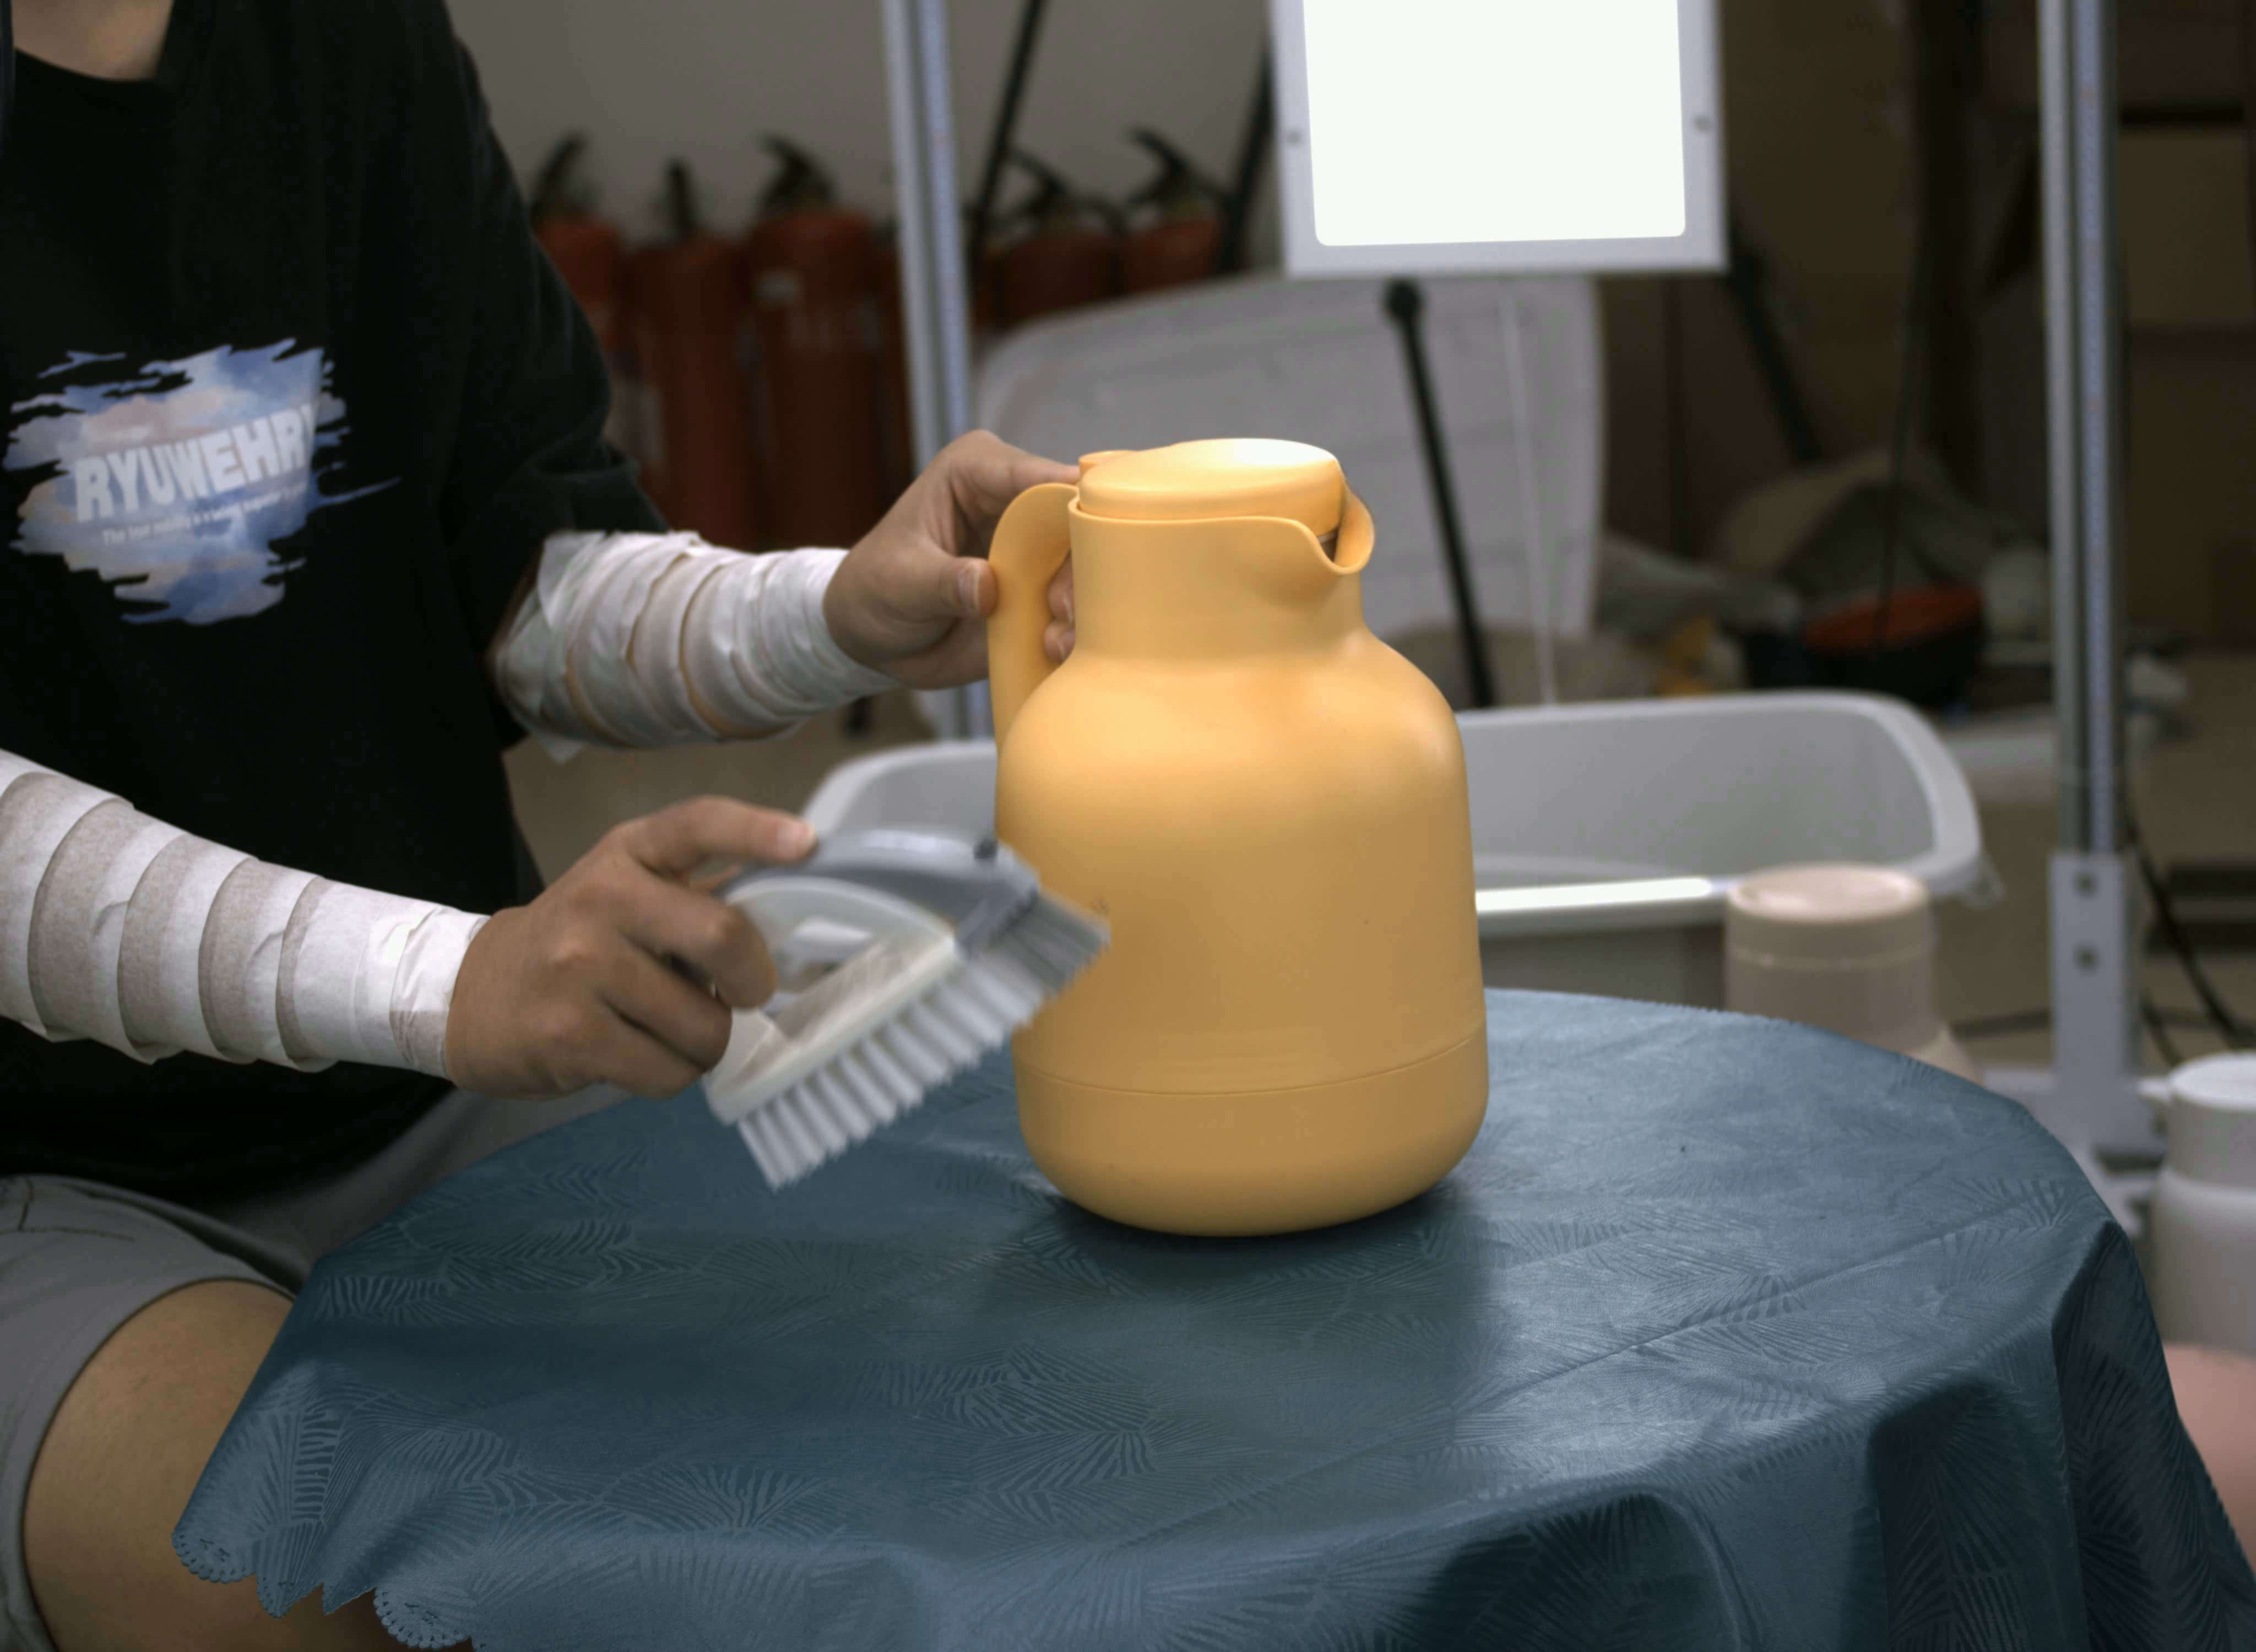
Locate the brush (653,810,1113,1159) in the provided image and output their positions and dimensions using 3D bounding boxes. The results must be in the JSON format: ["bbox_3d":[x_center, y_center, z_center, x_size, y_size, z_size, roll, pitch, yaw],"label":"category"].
[{"bbox_3d":[-0.086,0.035,1.754,0.179,0.093,0.060,-33,20,45],"label":"brush"}]

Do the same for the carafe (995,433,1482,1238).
[{"bbox_3d":[0.026,-0.004,1.876,0.159,0.261,0.206,-11,16,-31],"label":"carafe"}]
